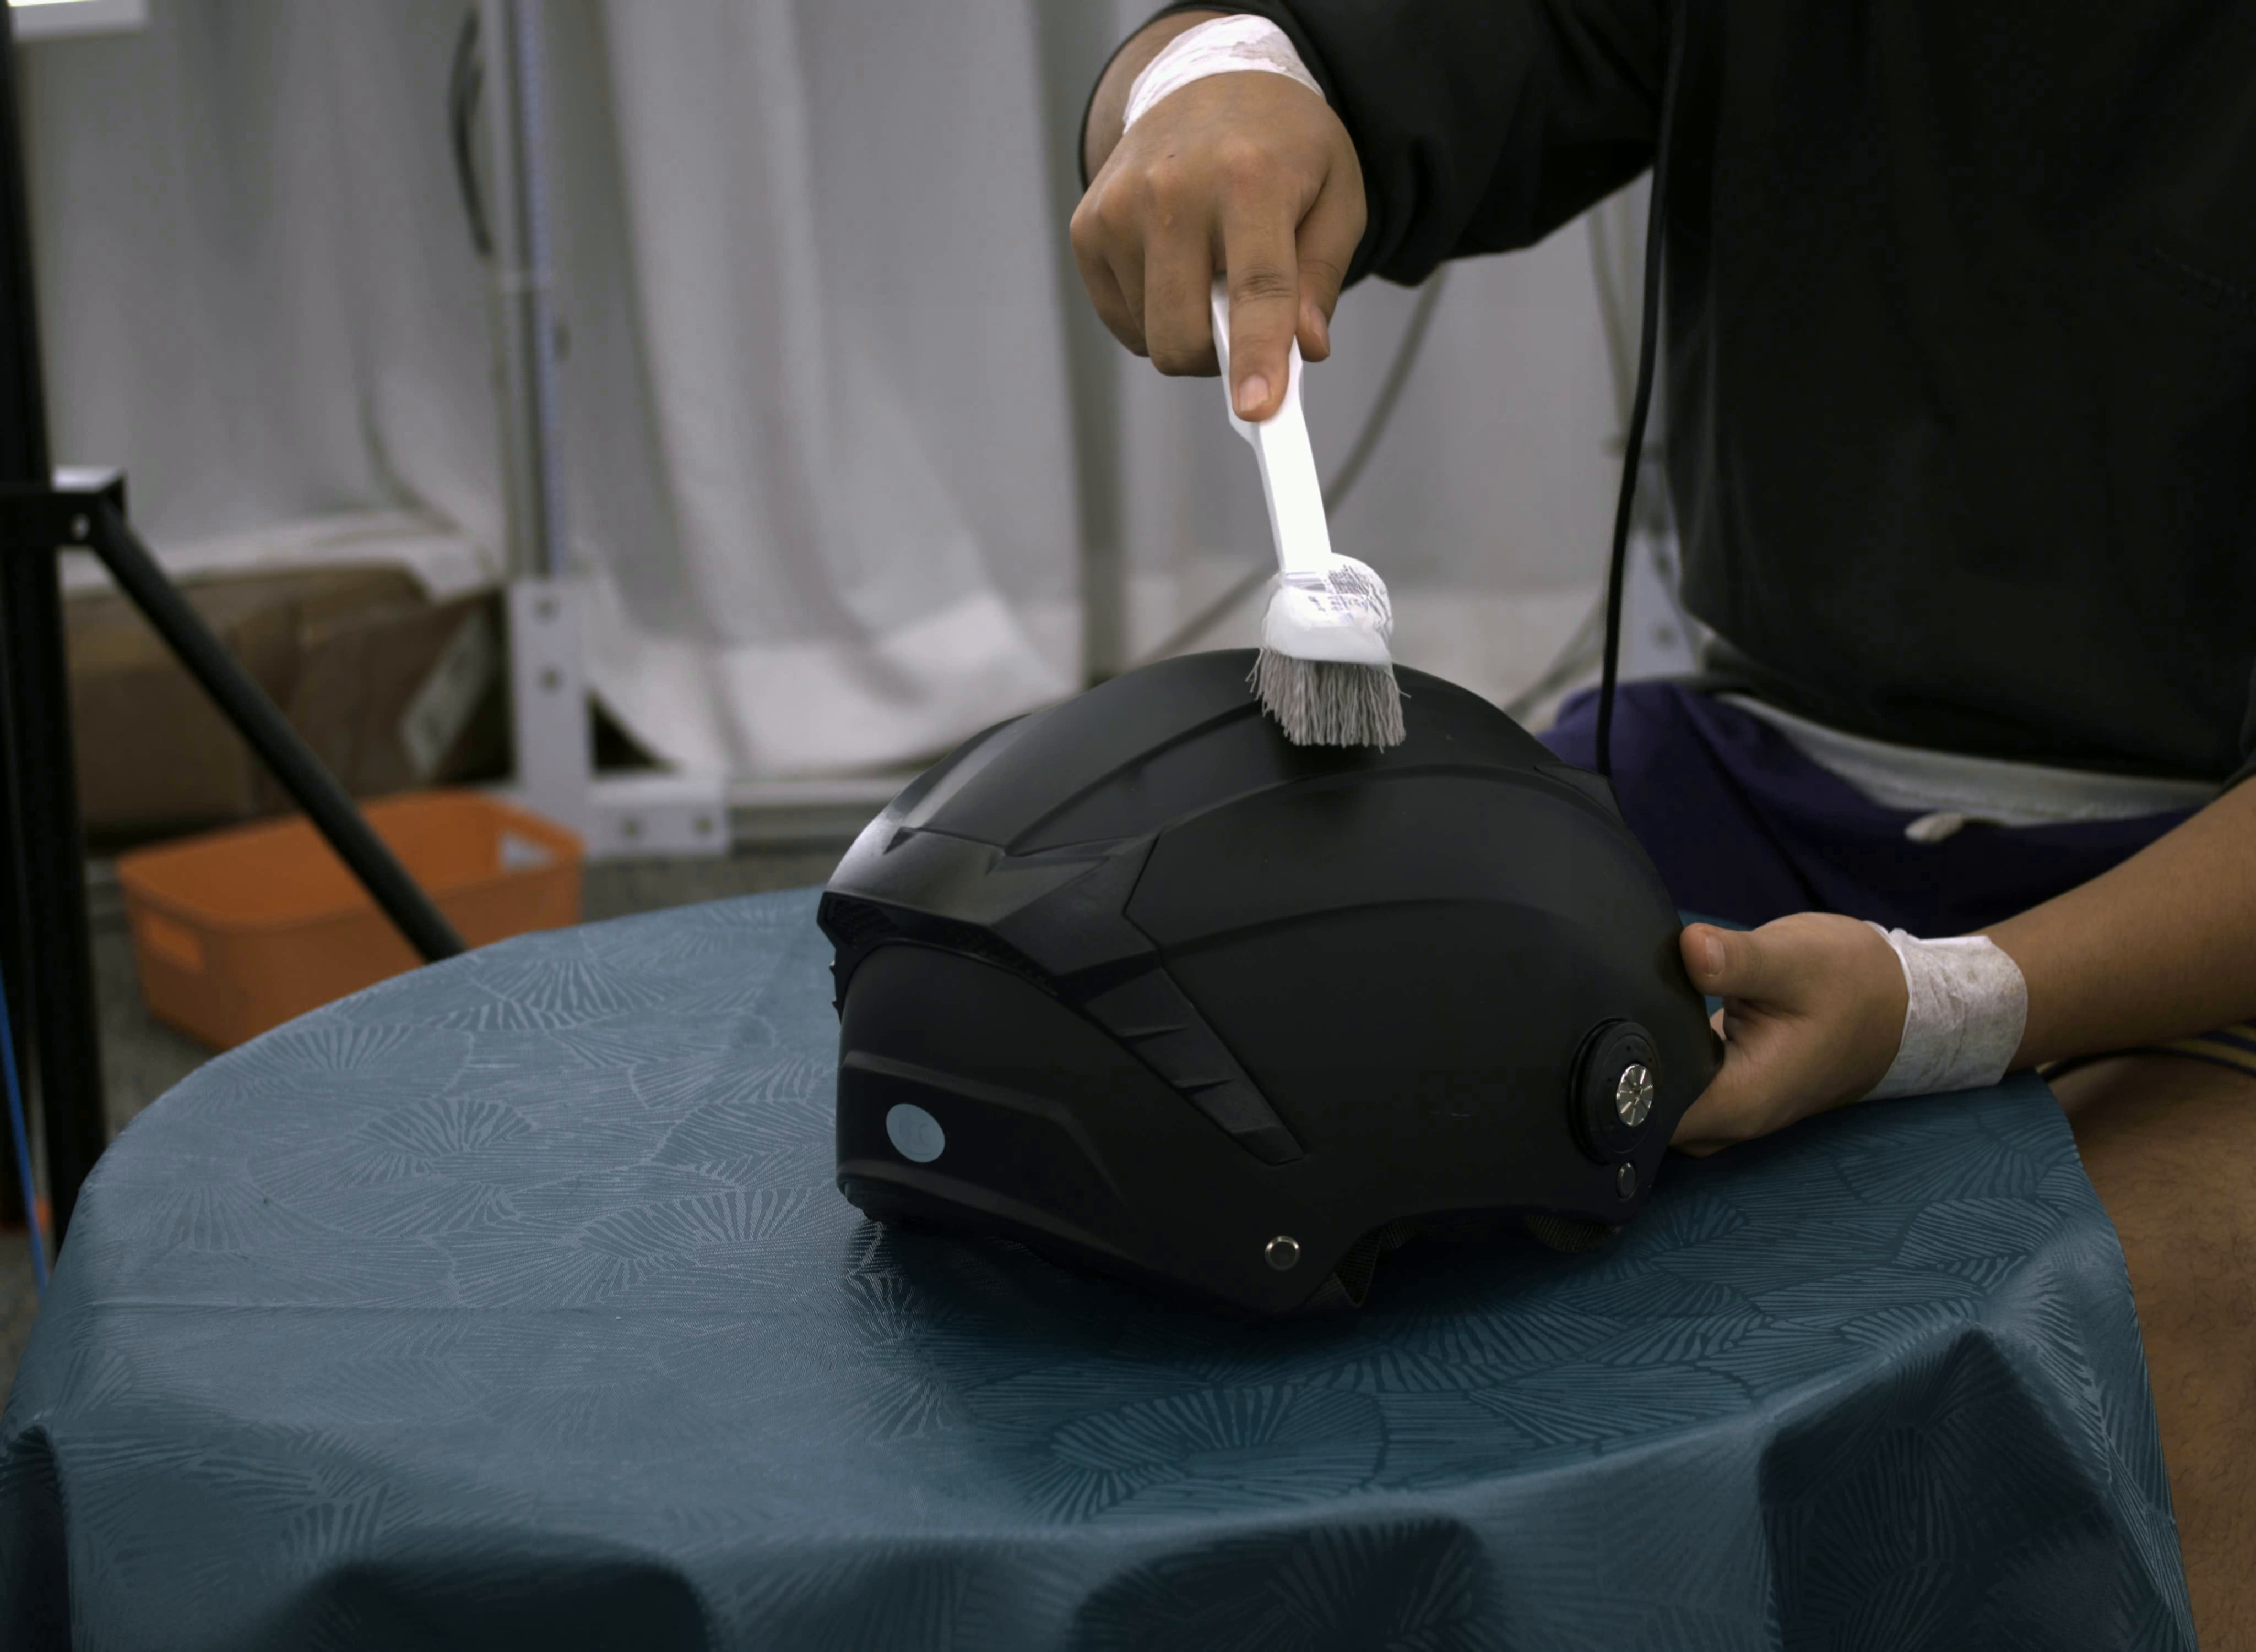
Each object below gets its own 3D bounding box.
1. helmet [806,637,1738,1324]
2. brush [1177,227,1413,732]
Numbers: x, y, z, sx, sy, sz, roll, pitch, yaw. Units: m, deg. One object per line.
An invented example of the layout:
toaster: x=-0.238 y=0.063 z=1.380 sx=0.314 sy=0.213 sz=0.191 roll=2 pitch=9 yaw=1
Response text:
helmet: x=0.041 y=0.032 z=1.518 sx=0.271 sy=0.172 sz=0.252 roll=-20 pitch=21 yaw=-37
brush: x=0.043 y=-0.097 z=1.519 sx=0.034 sy=0.050 sz=0.247 roll=-3 pitch=33 yaw=-9
